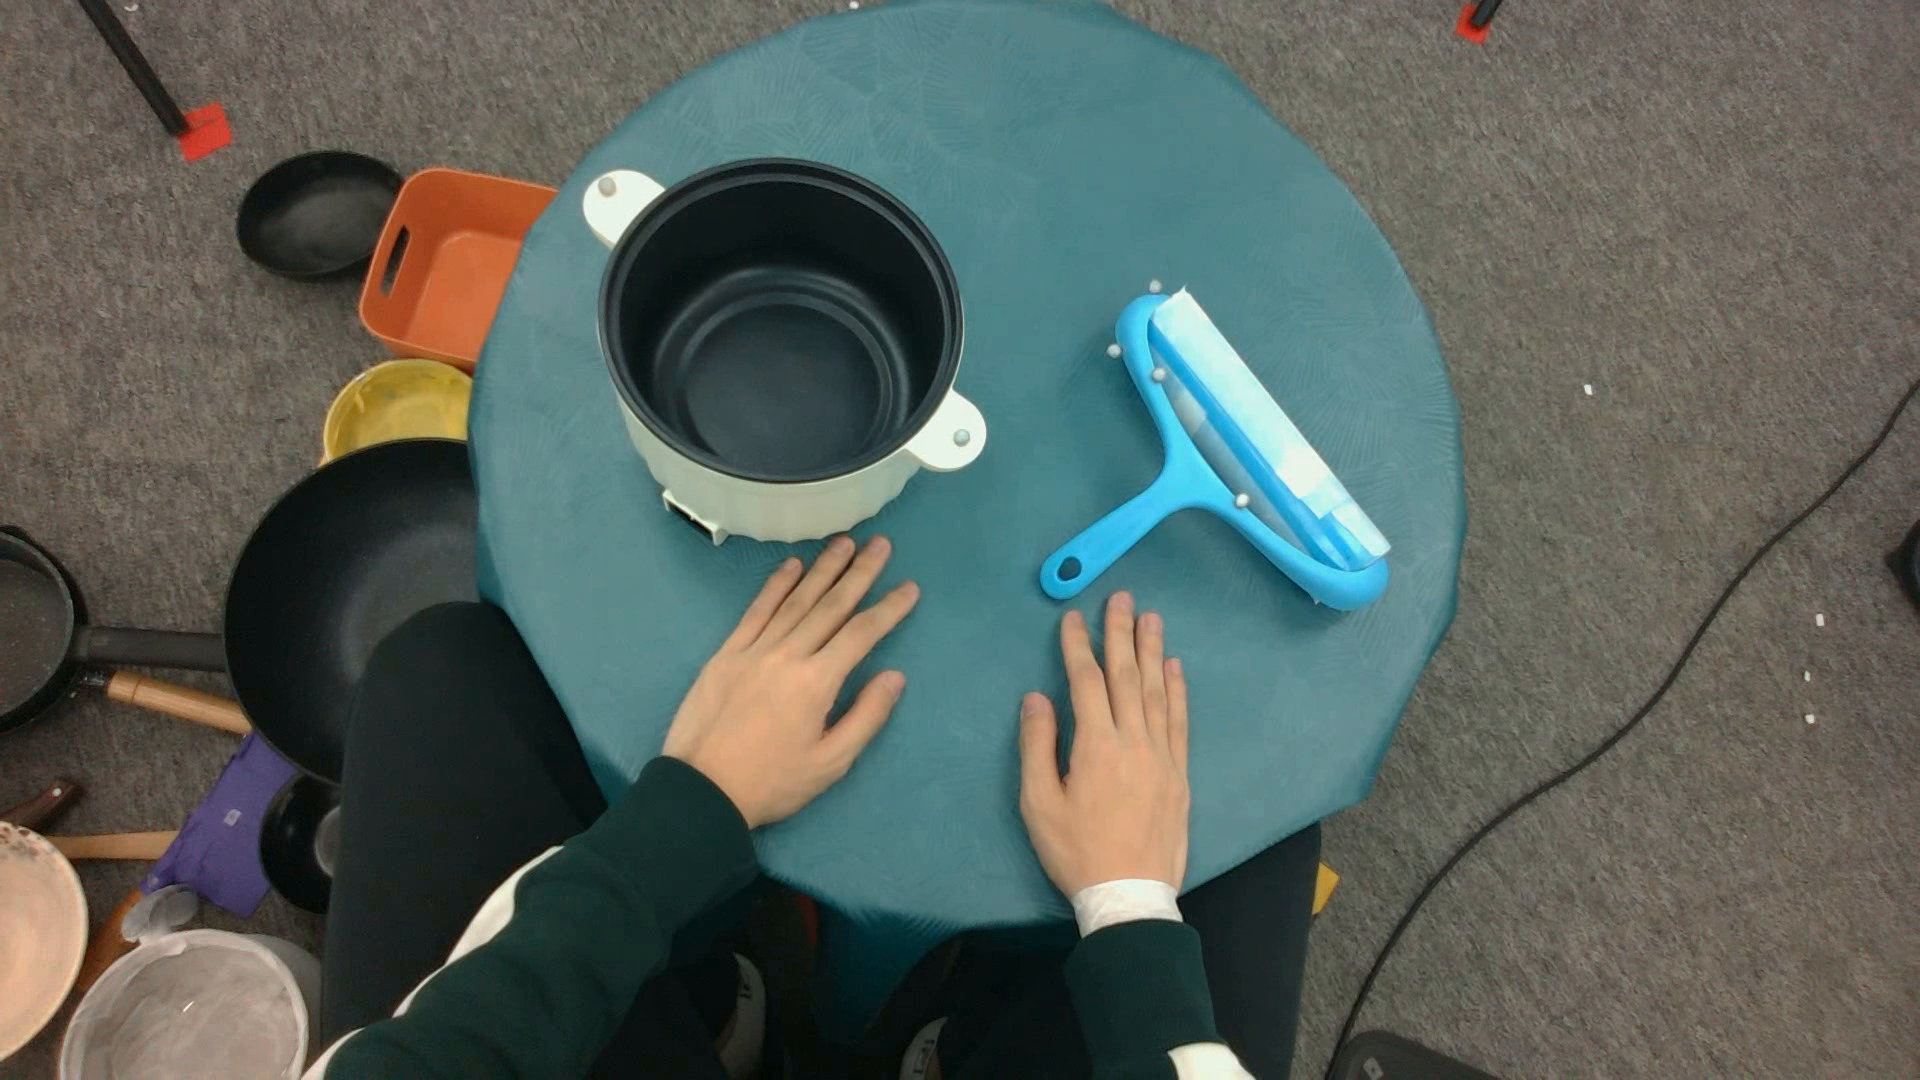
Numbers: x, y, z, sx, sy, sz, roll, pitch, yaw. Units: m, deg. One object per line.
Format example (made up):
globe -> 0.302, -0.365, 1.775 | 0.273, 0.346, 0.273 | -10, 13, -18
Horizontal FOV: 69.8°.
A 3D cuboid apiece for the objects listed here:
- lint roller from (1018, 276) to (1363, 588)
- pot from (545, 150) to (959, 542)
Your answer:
lint roller -> 0.113, -0.034, 0.803 | 0.181, 0.067, 0.229 | -37, 82, -20
pot -> -0.111, -0.101, 0.750 | 0.240, 0.142, 0.191 | 33, 73, 2
